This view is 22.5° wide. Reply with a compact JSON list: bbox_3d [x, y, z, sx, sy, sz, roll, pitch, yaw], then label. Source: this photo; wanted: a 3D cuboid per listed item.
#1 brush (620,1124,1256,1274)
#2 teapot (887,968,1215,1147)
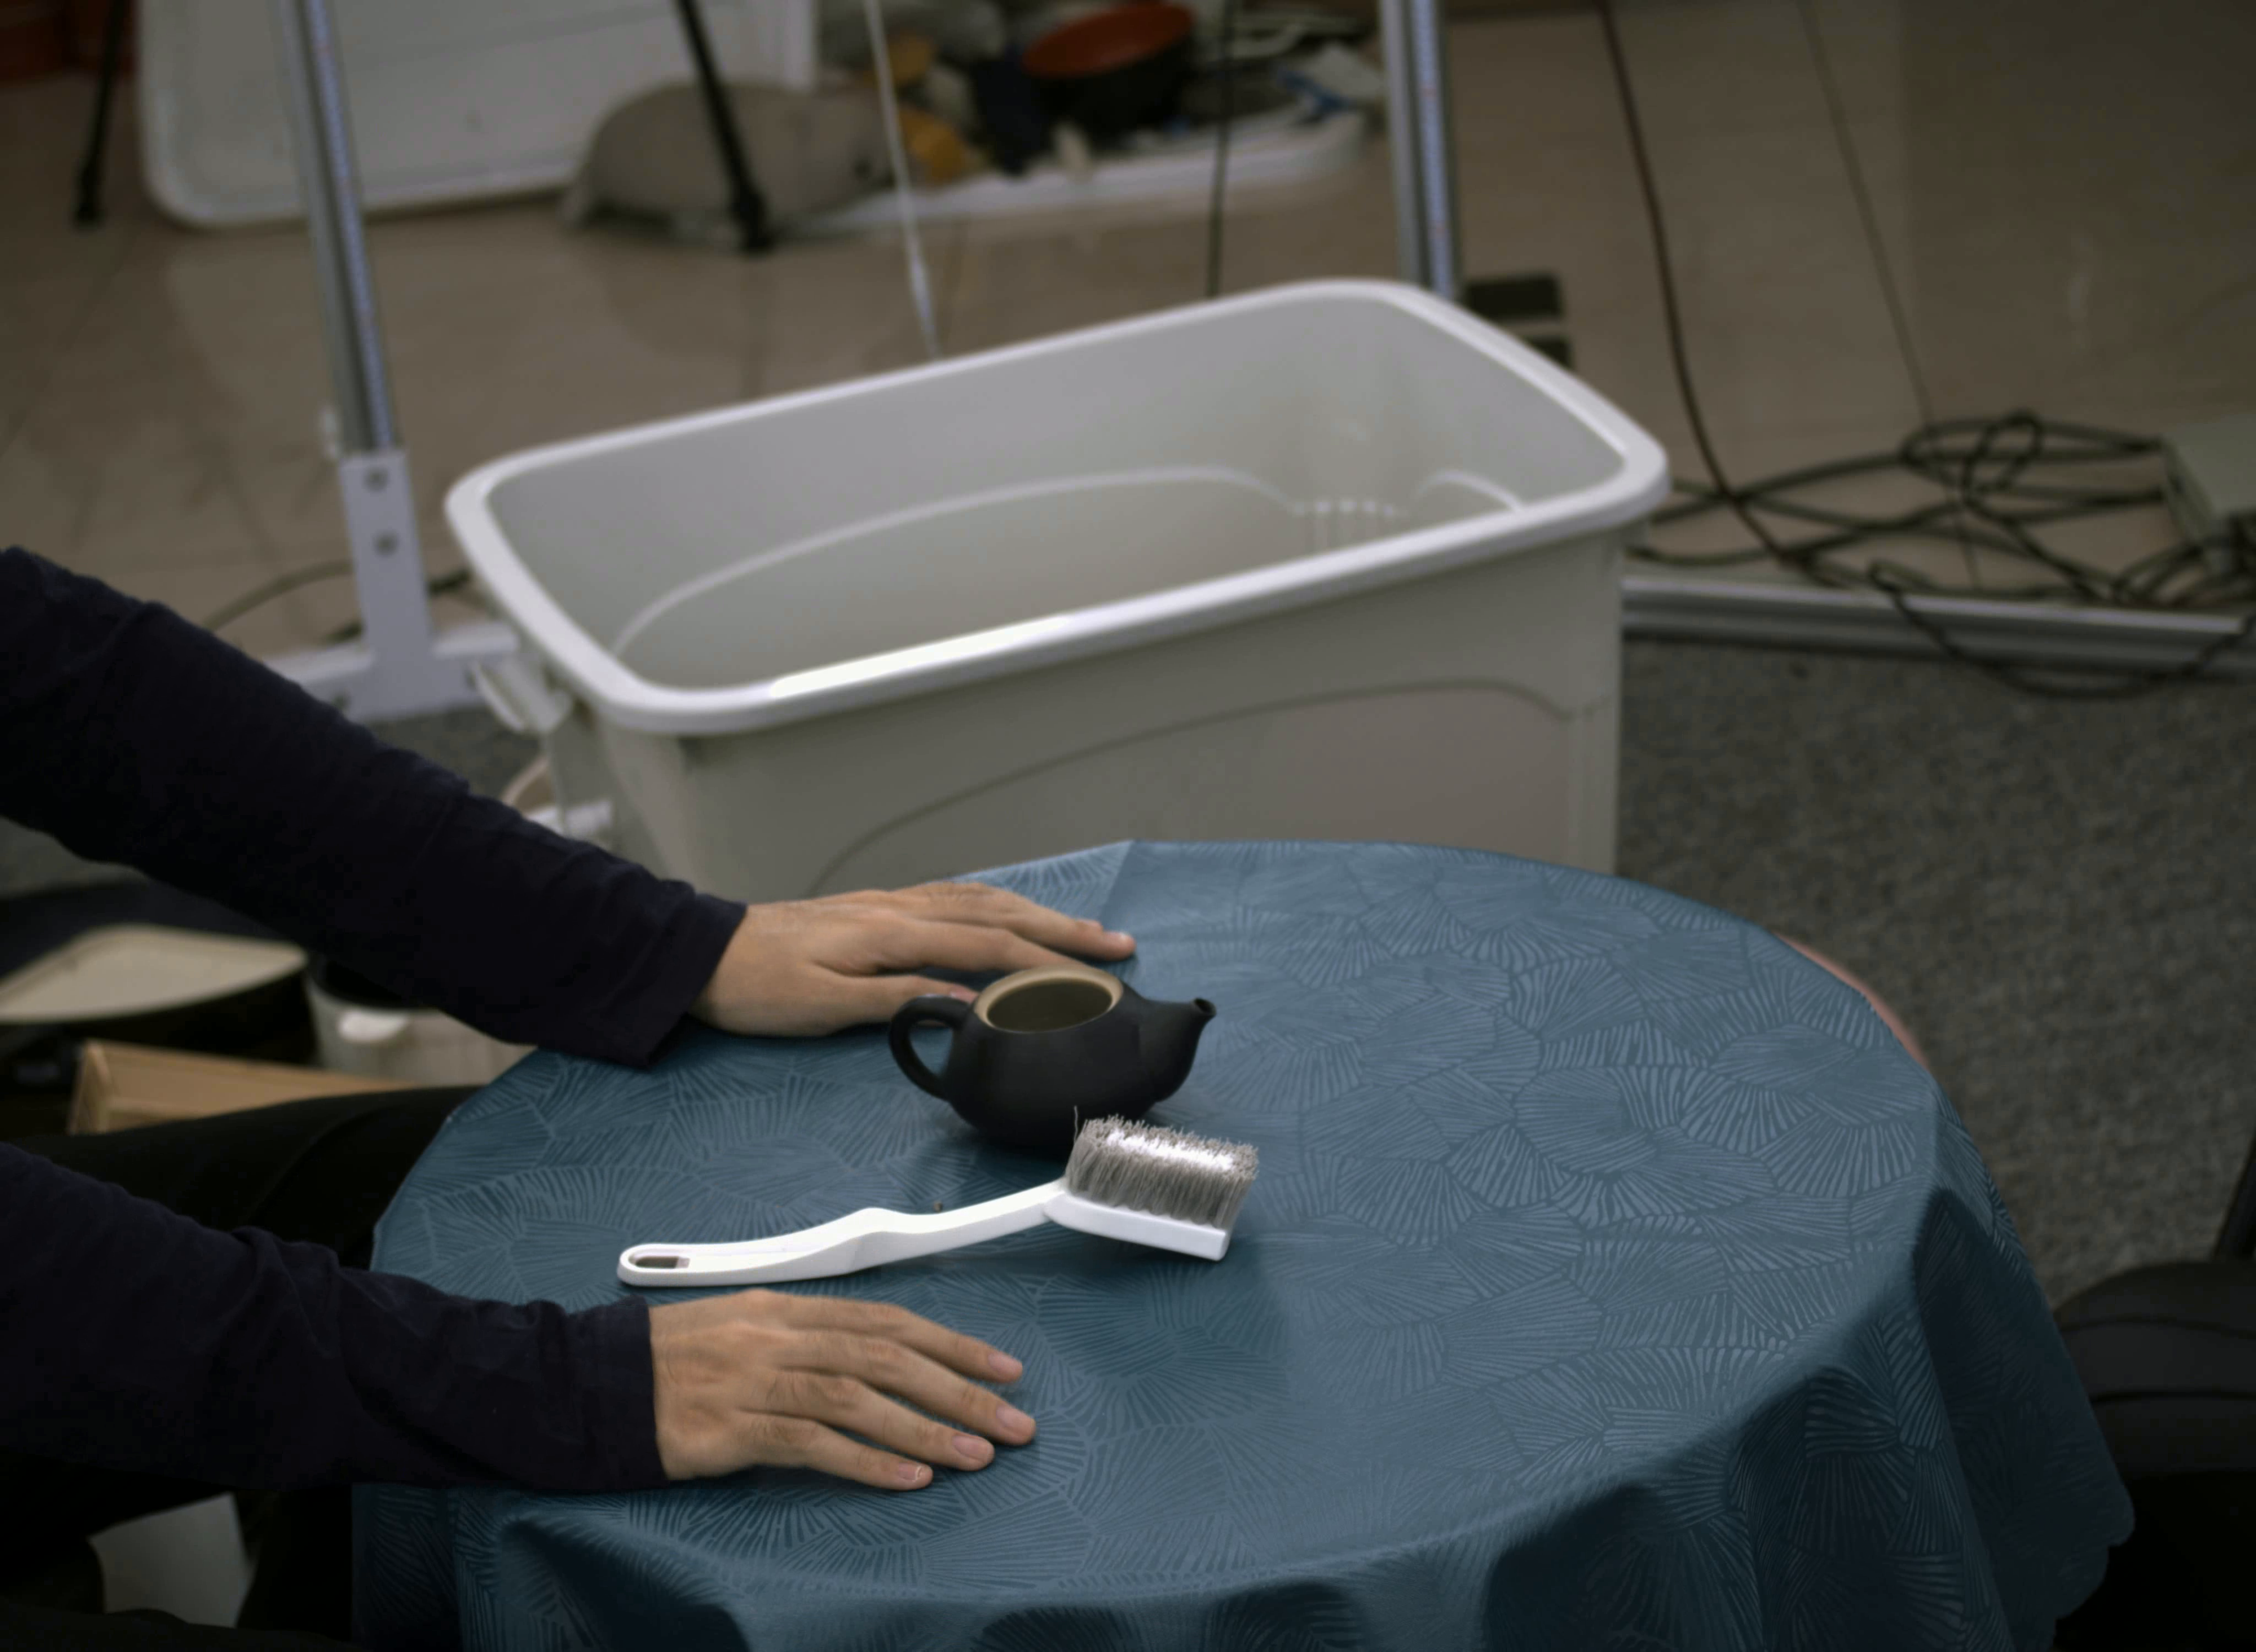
[{"bbox_3d":[-0.073,0.139,2.108,0.243,0.051,0.034,-2,28,9],"label":"brush"},{"bbox_3d":[-0.029,0.090,2.197,0.133,0.054,0.090,0,23,15],"label":"teapot"}]
